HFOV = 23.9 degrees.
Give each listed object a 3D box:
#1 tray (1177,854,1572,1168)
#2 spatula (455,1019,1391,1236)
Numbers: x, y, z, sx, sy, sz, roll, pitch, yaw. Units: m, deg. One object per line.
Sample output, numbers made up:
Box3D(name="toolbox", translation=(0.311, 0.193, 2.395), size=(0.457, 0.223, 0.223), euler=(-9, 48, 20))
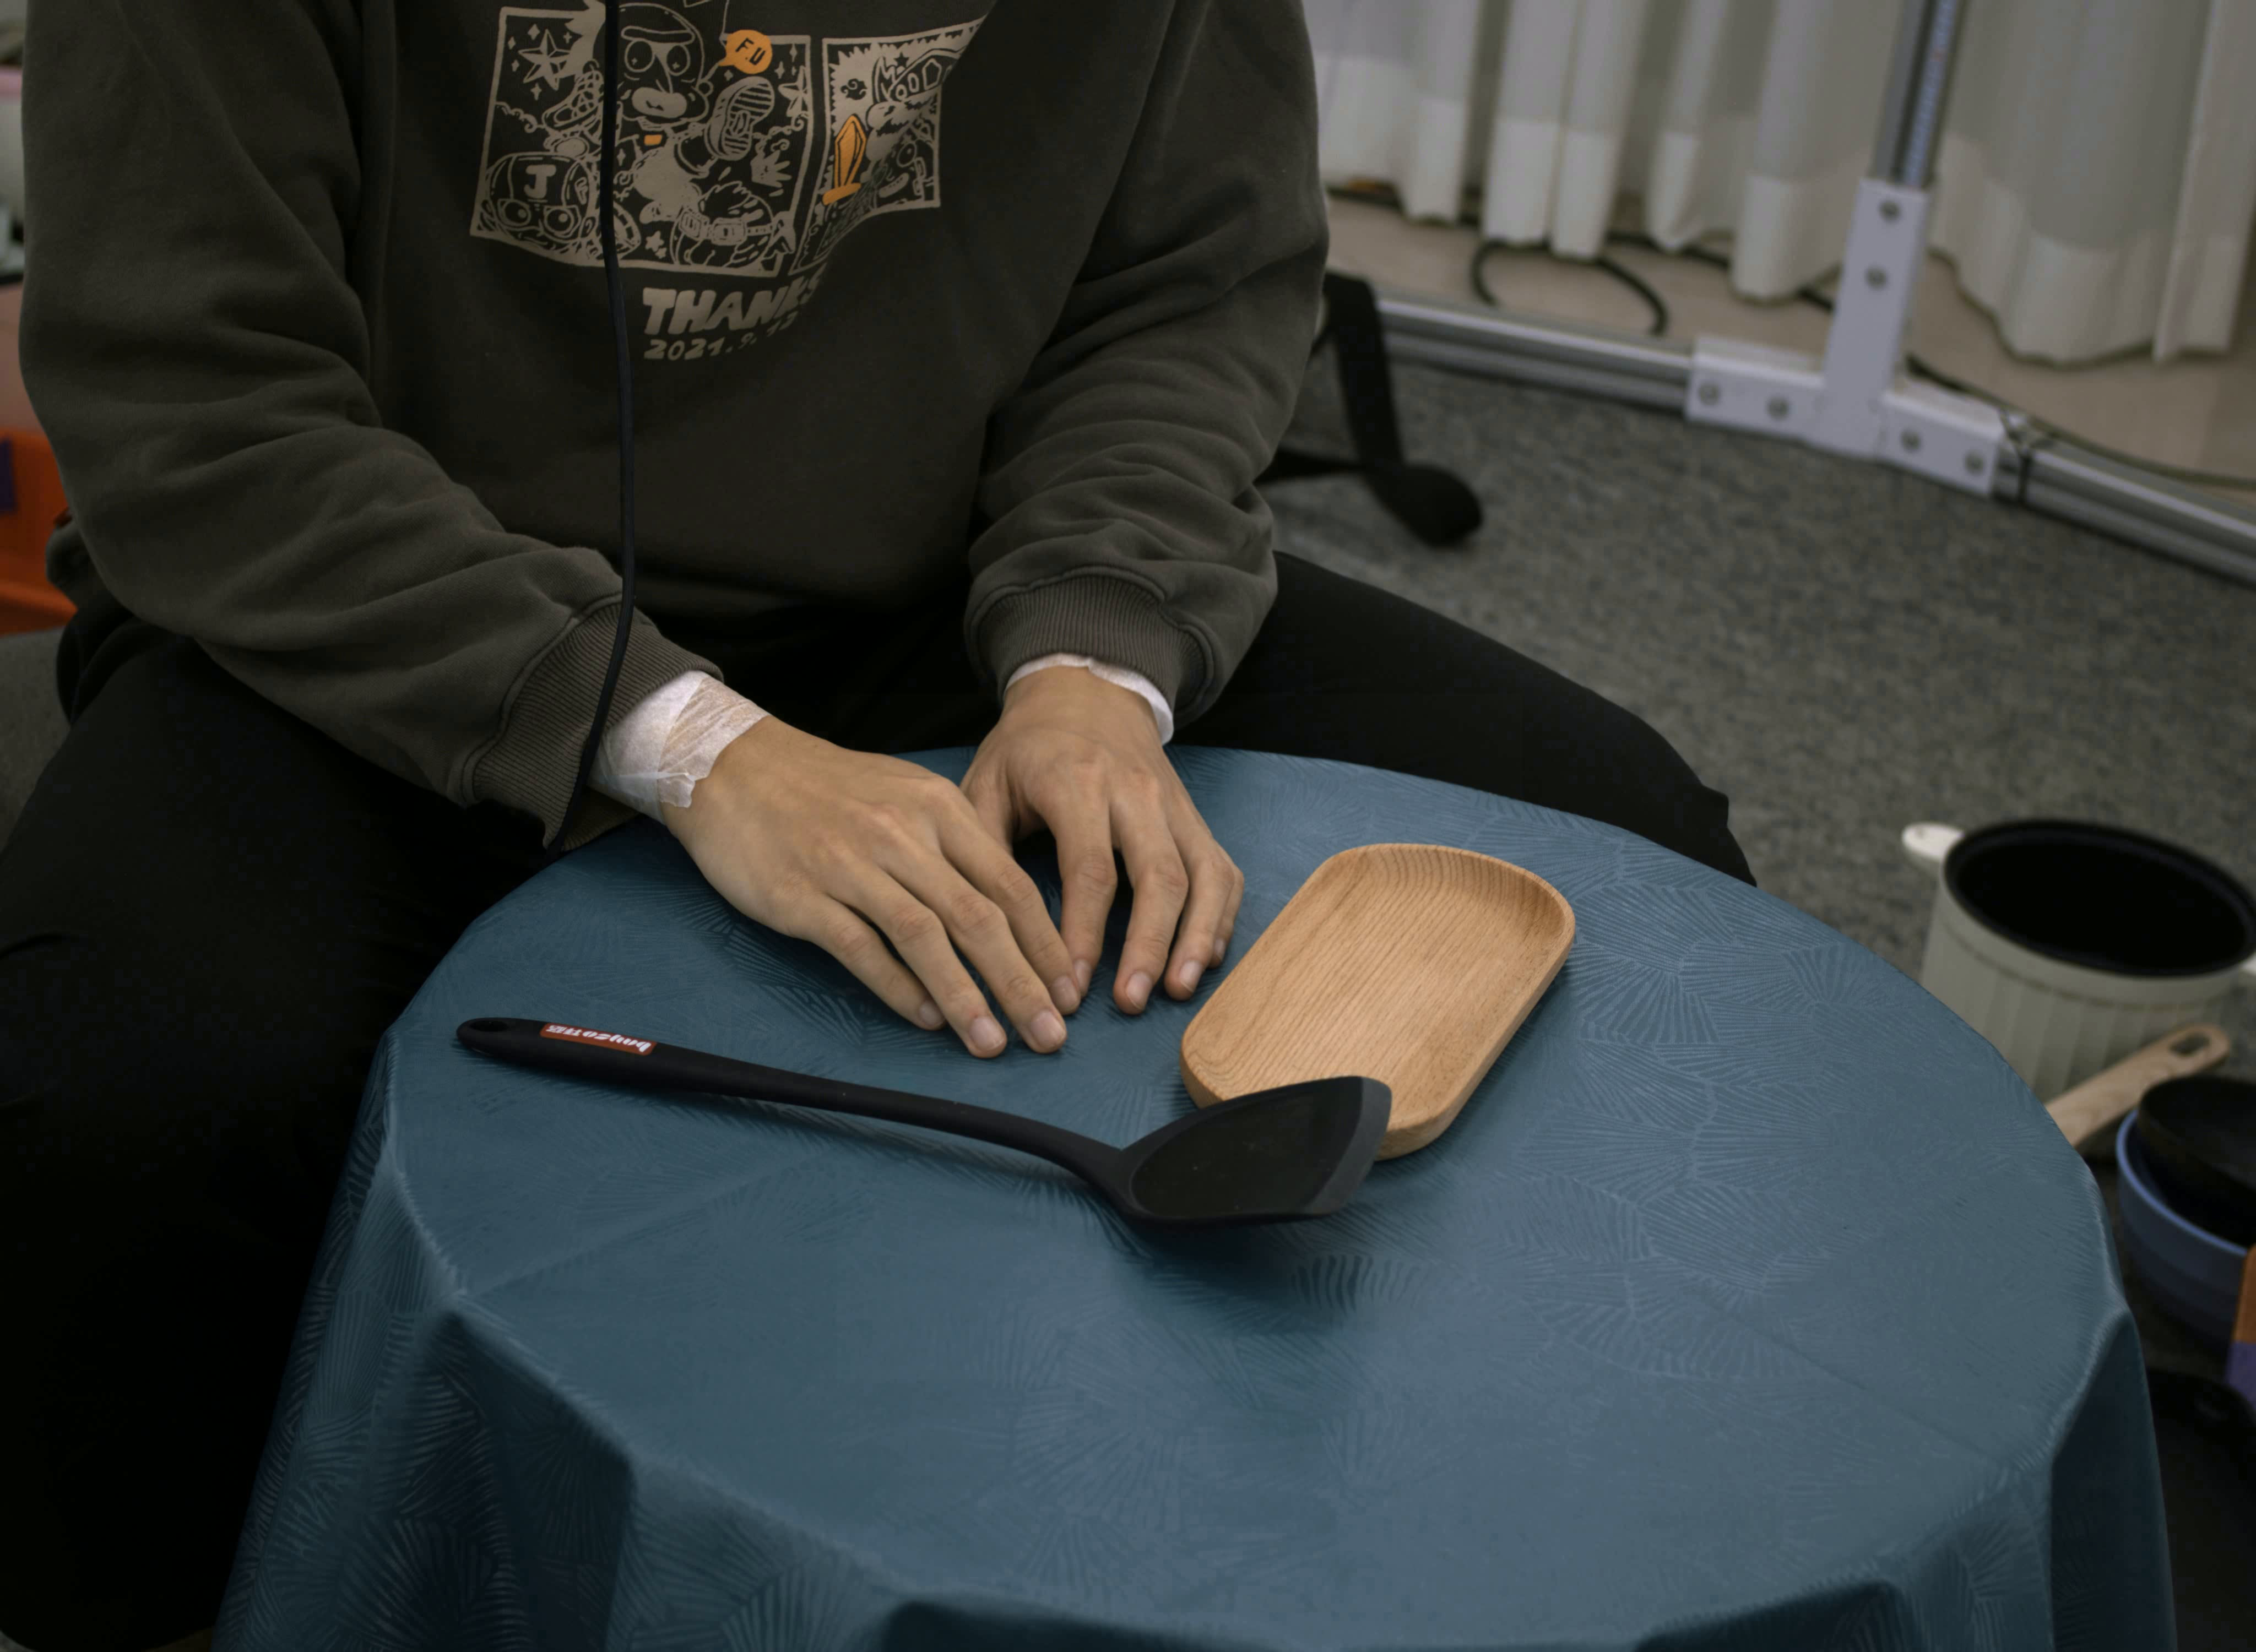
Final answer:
Box3D(name="tray", translation=(0.091, 0.065, 1.924), size=(0.102, 0.020, 0.231), euler=(15, 29, 17))
Box3D(name="spatula", translation=(-0.075, 0.091, 1.810), size=(0.326, 0.040, 0.100), euler=(12, 26, 11))
